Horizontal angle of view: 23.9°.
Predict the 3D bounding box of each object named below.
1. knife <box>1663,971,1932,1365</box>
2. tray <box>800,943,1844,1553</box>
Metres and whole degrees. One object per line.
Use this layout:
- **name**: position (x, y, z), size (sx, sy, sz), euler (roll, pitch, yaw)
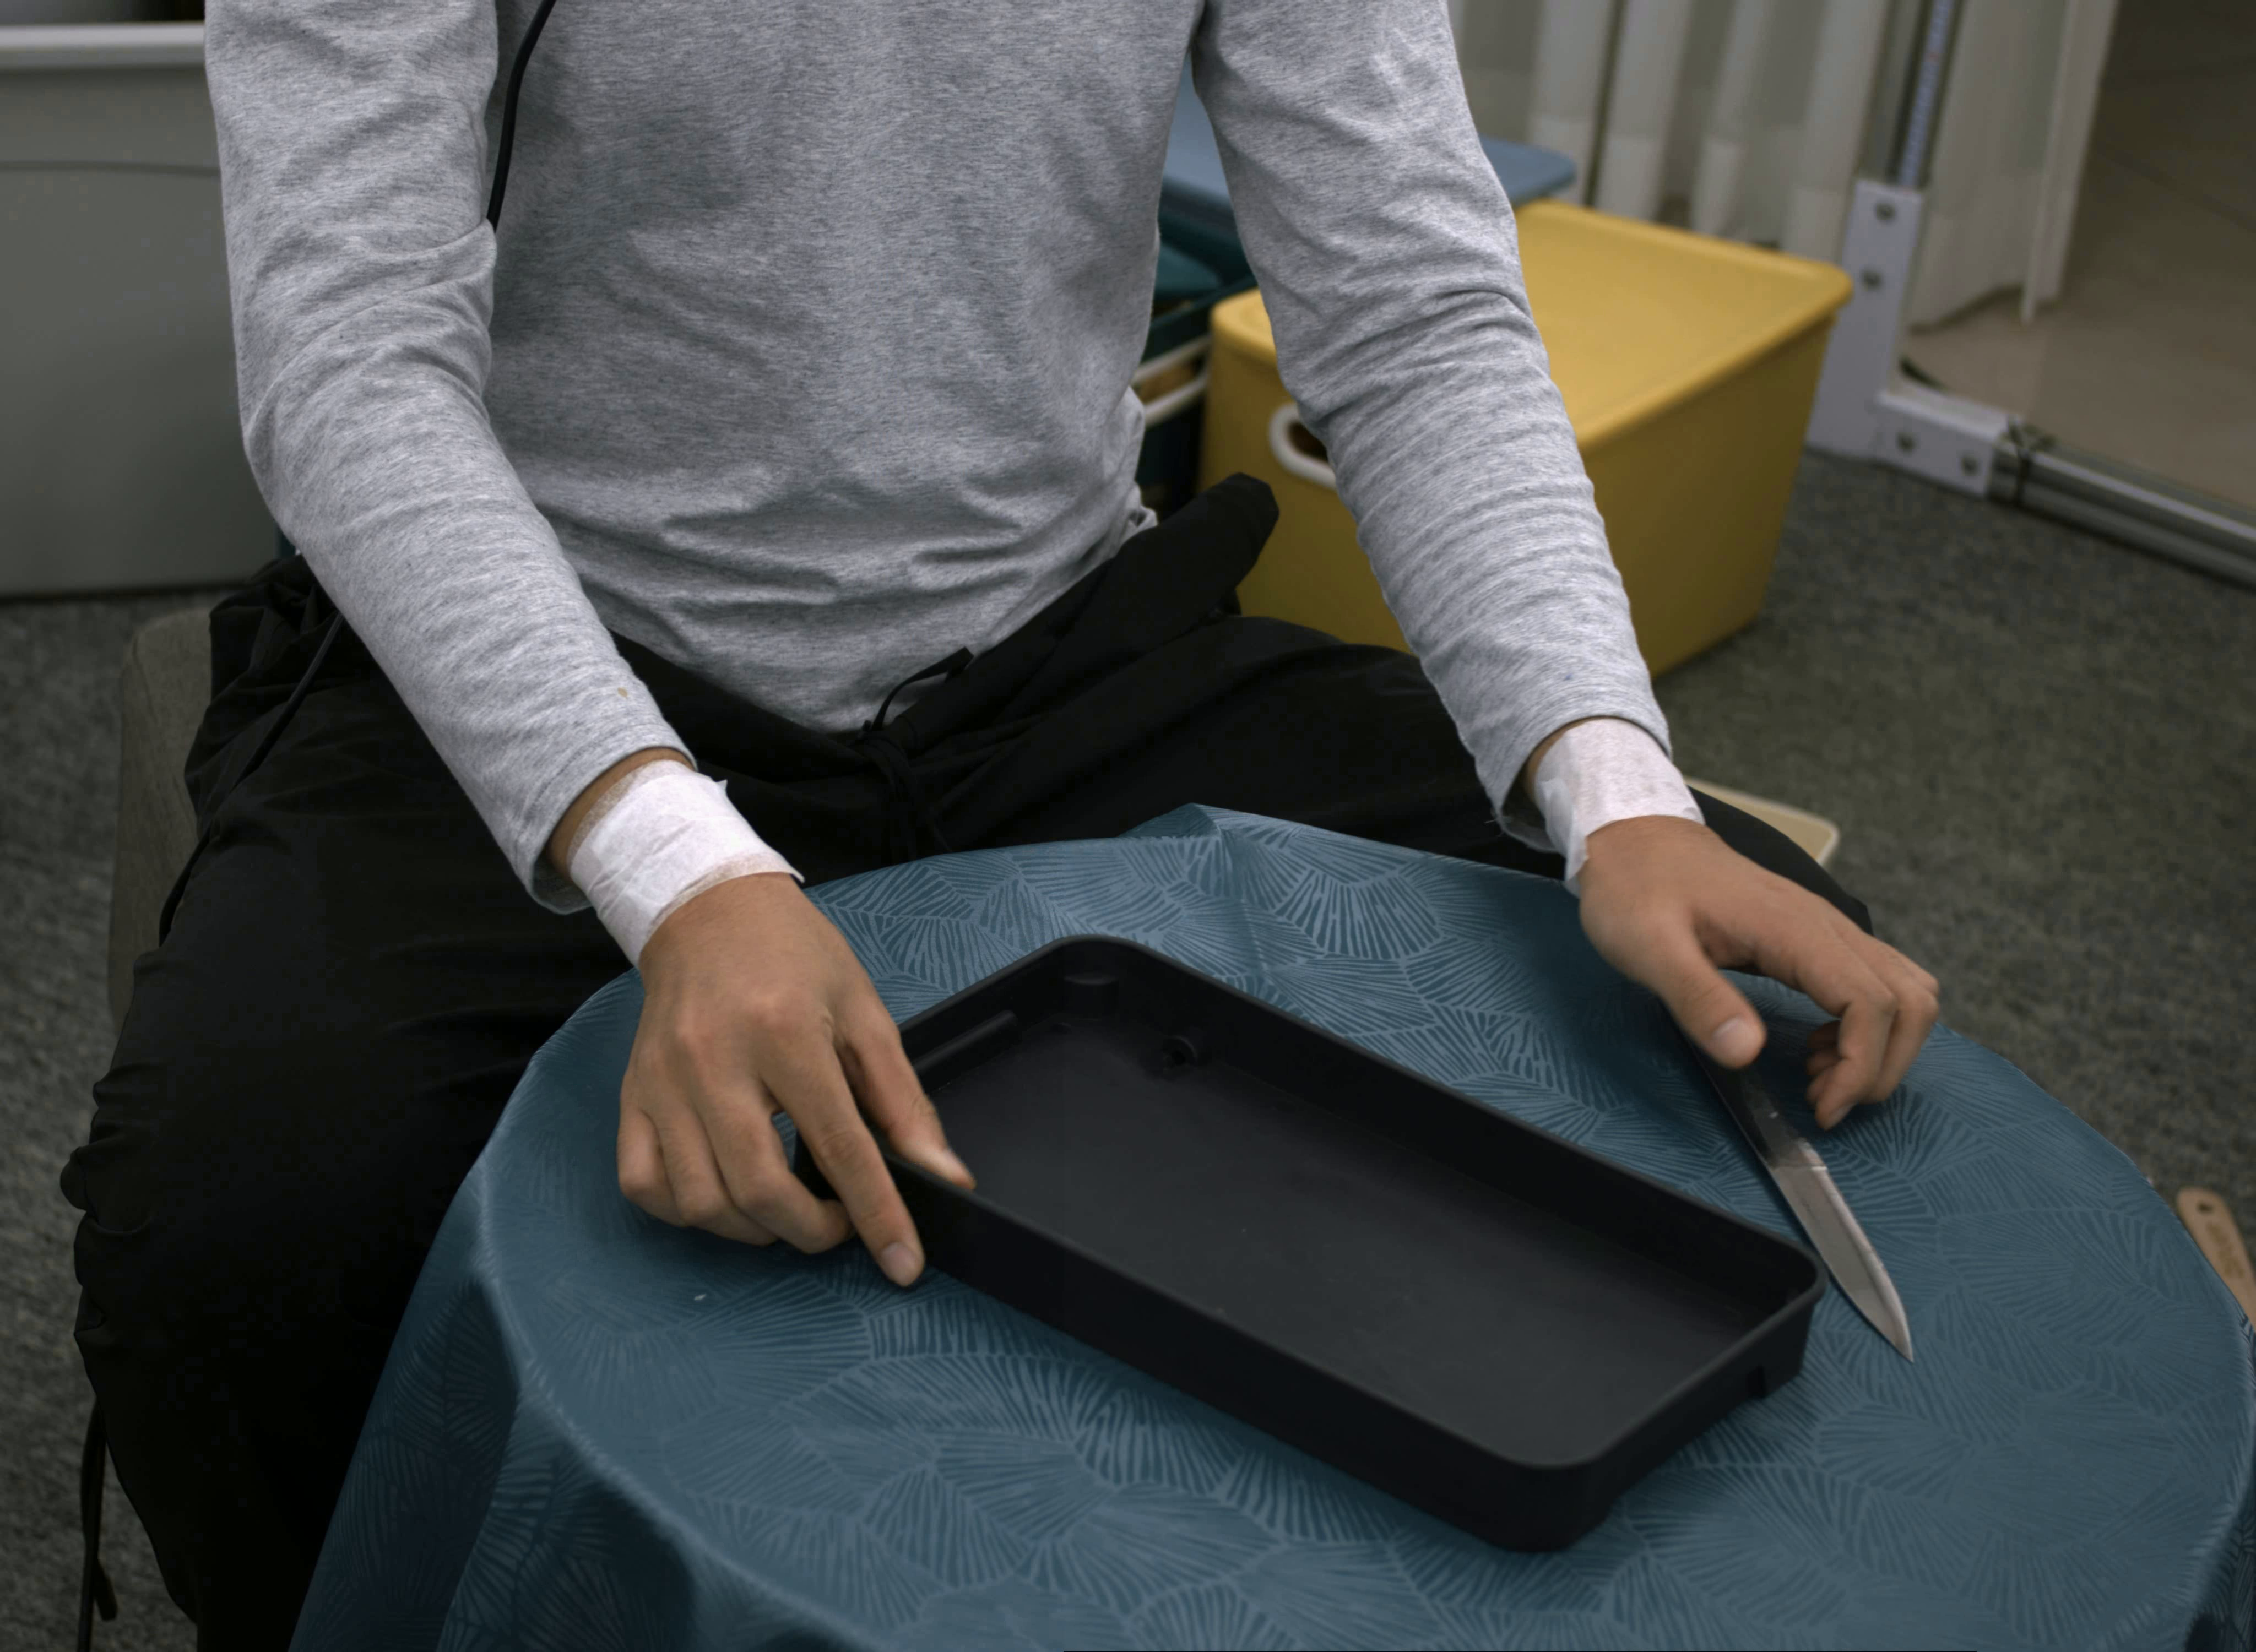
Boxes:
- **knife**: position (0.232, 0.118, 1.856), size (0.024, 0.016, 0.240), euler (-4, 31, -15)
- **tray**: position (0.061, 0.134, 1.760), size (0.320, 0.037, 0.184), euler (22, 30, 29)
